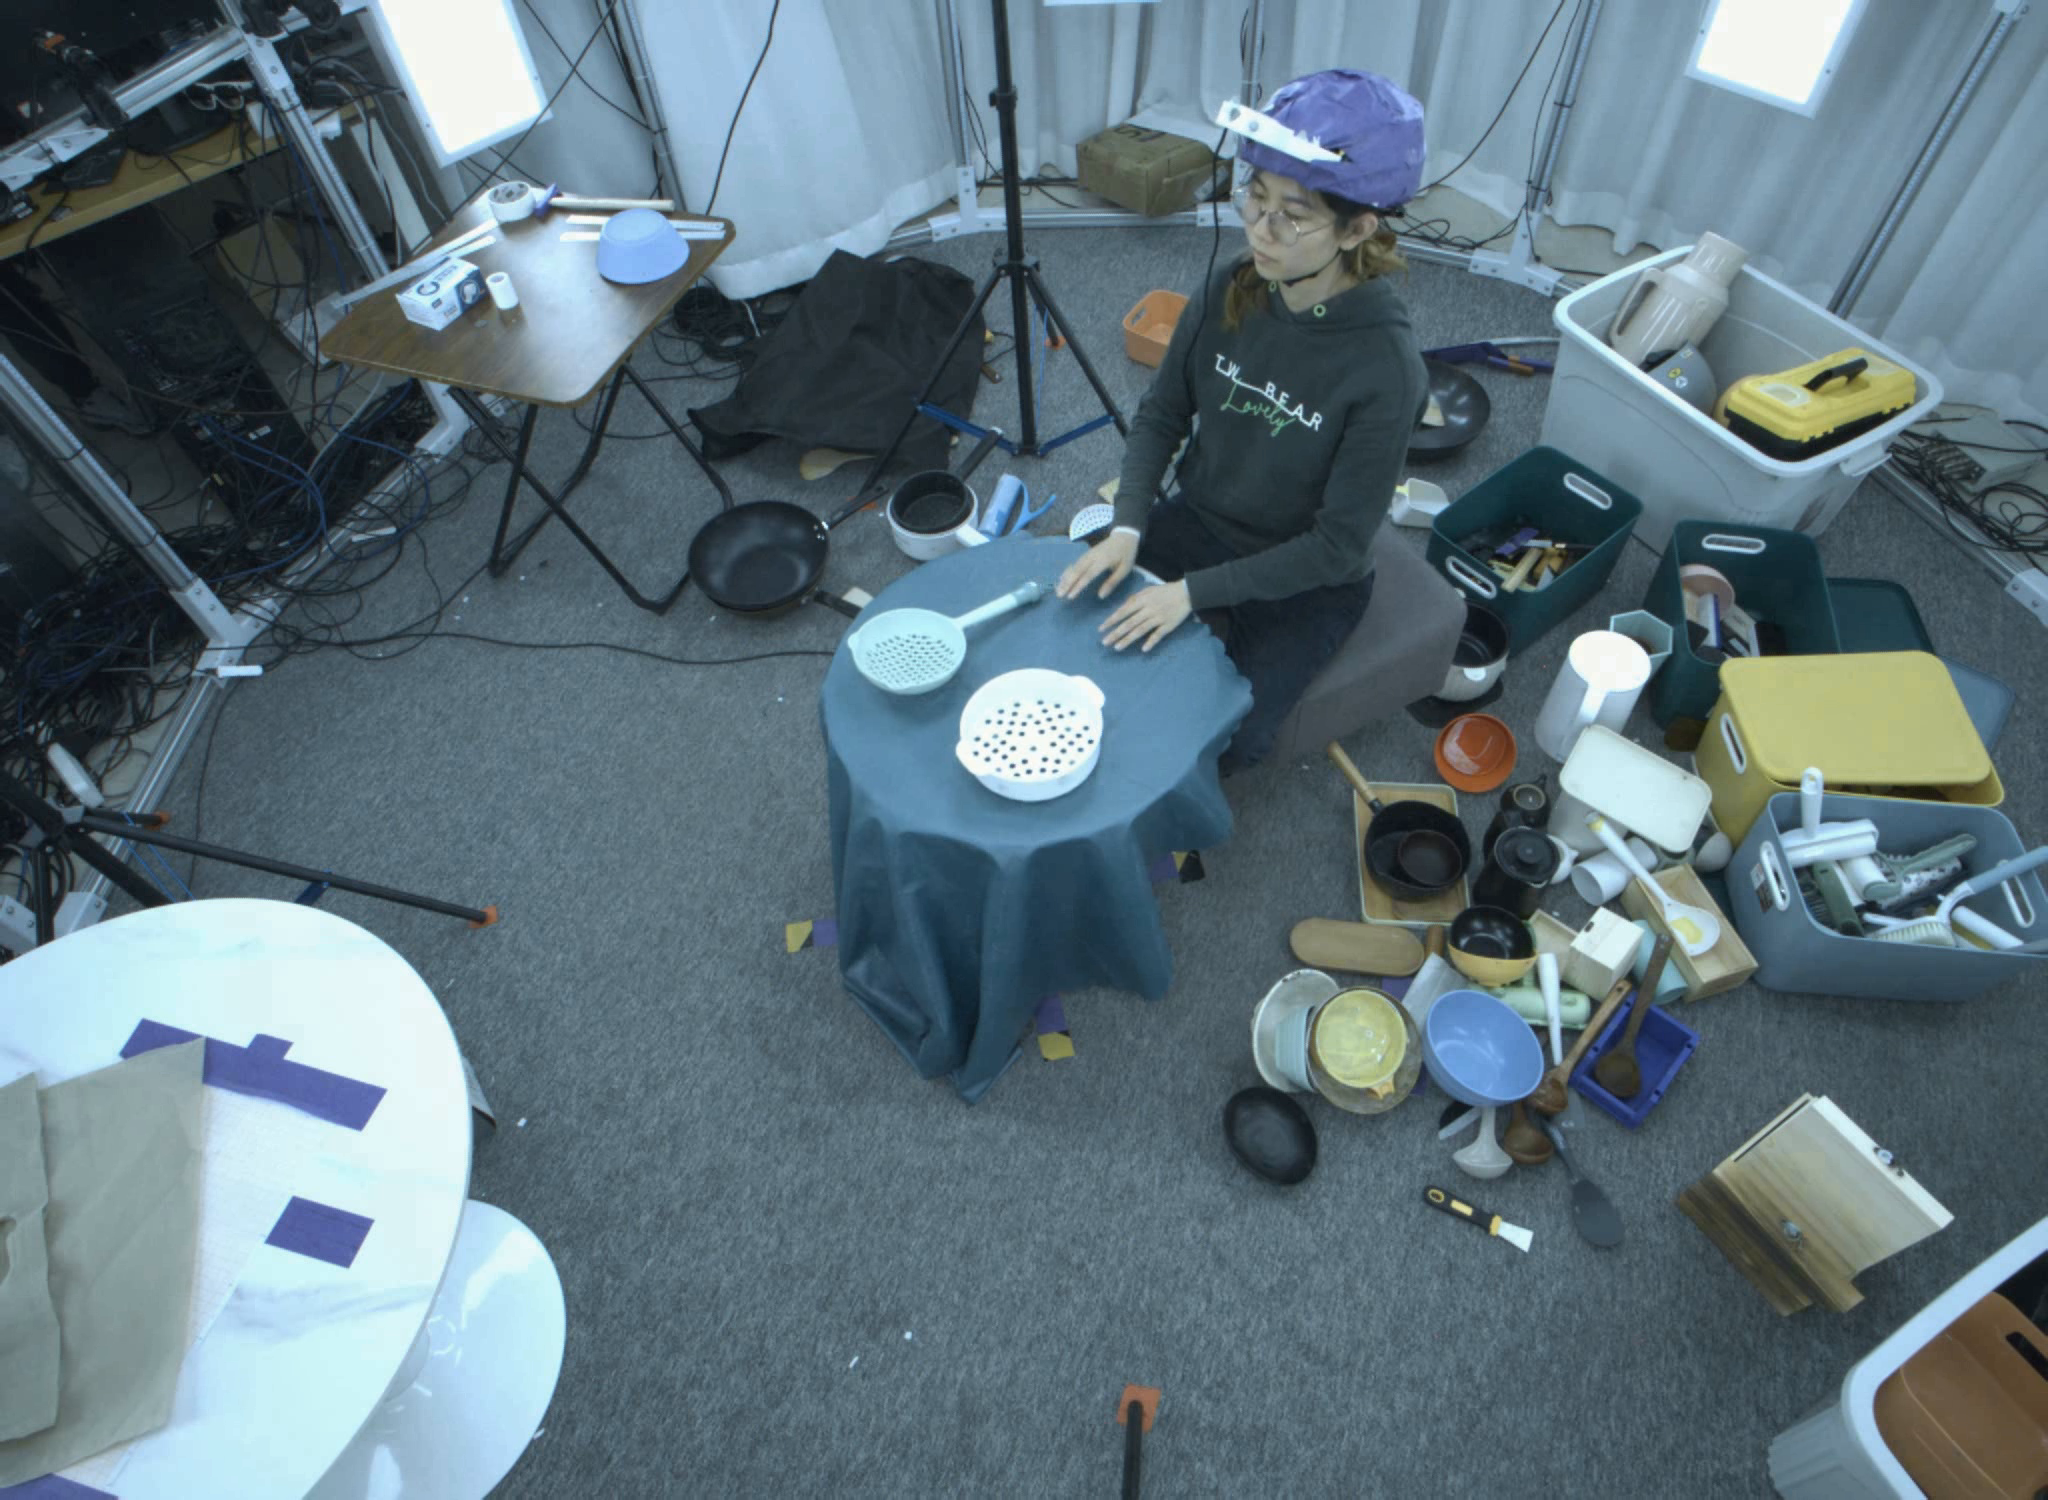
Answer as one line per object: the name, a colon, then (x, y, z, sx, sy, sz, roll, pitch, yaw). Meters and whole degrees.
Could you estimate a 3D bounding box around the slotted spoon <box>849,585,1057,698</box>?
slotted spoon: (-0.095, -0.186, 1.892, 0.361, 0.076, 0.166, -34, 59, -20)

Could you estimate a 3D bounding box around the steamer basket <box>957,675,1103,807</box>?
steamer basket: (0.011, -0.011, 1.767, 0.232, 0.070, 0.198, -32, 61, -19)
